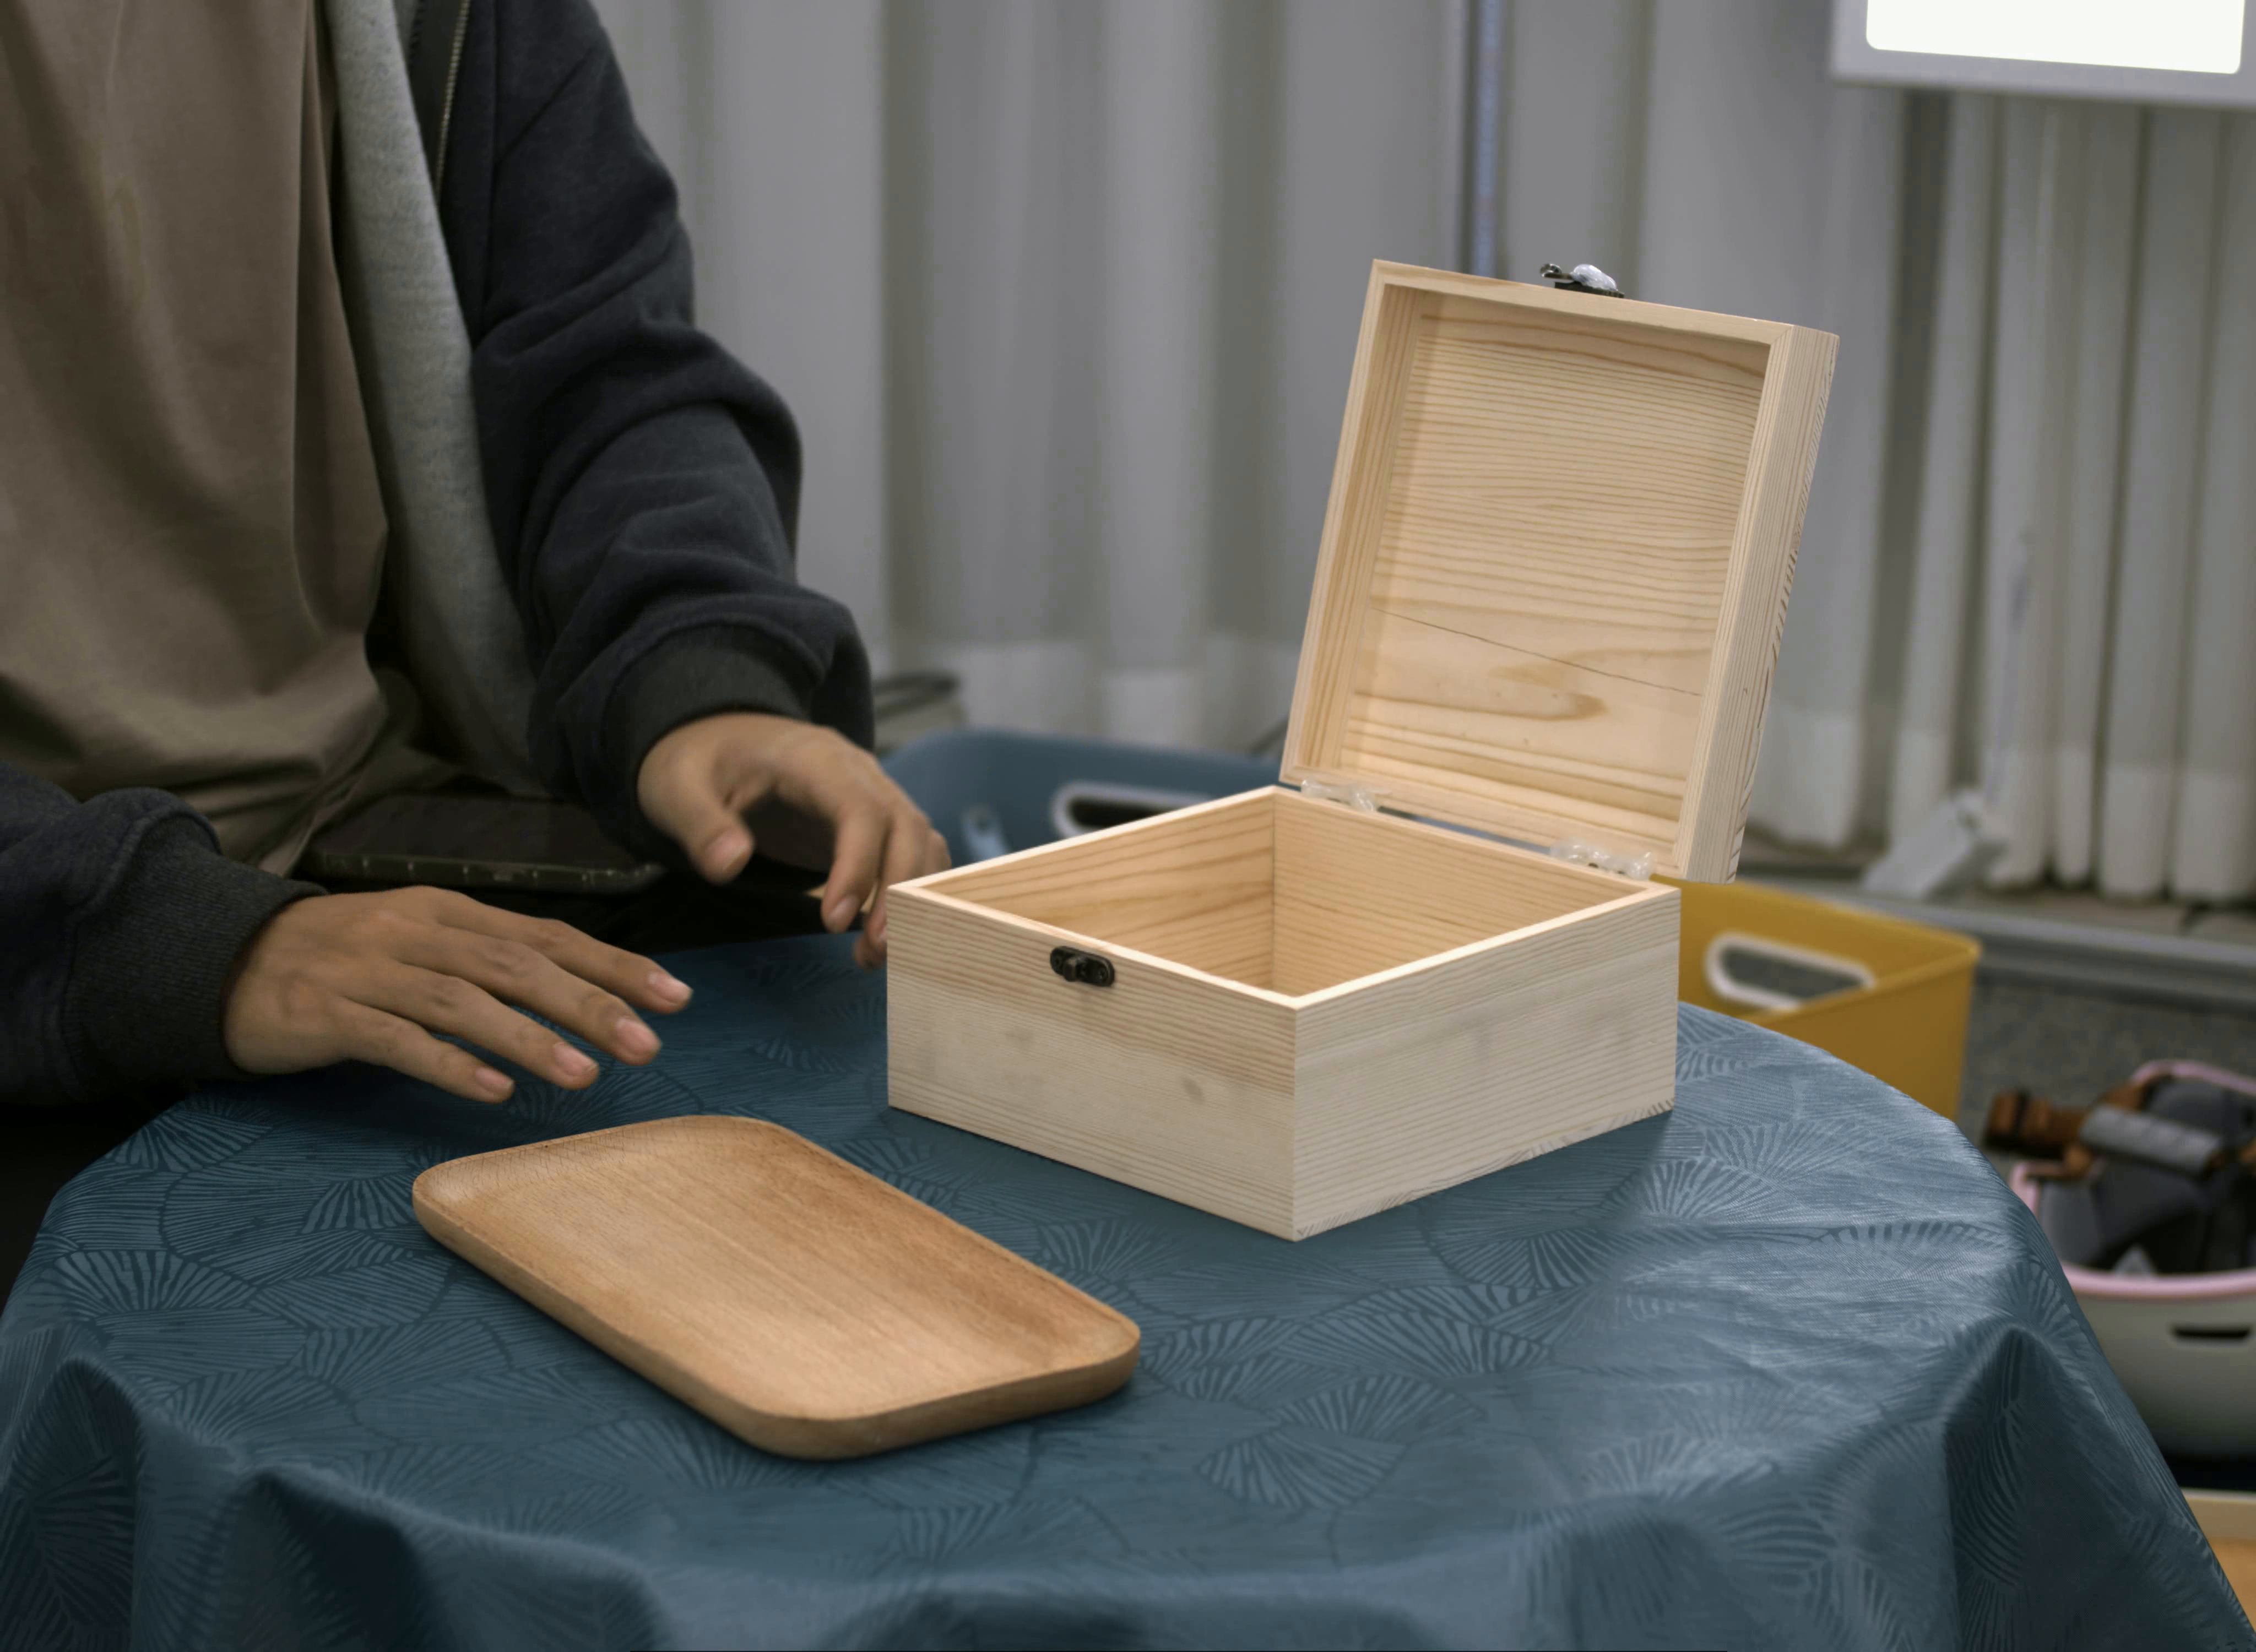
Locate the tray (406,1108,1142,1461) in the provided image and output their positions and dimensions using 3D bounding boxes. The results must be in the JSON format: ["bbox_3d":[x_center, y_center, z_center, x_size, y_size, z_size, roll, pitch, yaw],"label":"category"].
[{"bbox_3d":[-0.106,0.129,1.523,0.131,0.023,0.247,-6,16,-32],"label":"tray"}]

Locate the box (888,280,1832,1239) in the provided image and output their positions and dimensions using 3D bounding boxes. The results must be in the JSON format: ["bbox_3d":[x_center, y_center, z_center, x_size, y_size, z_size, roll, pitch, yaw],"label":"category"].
[{"bbox_3d":[0.073,-0.033,1.692,0.179,0.255,0.266,12,18,42],"label":"box"}]
